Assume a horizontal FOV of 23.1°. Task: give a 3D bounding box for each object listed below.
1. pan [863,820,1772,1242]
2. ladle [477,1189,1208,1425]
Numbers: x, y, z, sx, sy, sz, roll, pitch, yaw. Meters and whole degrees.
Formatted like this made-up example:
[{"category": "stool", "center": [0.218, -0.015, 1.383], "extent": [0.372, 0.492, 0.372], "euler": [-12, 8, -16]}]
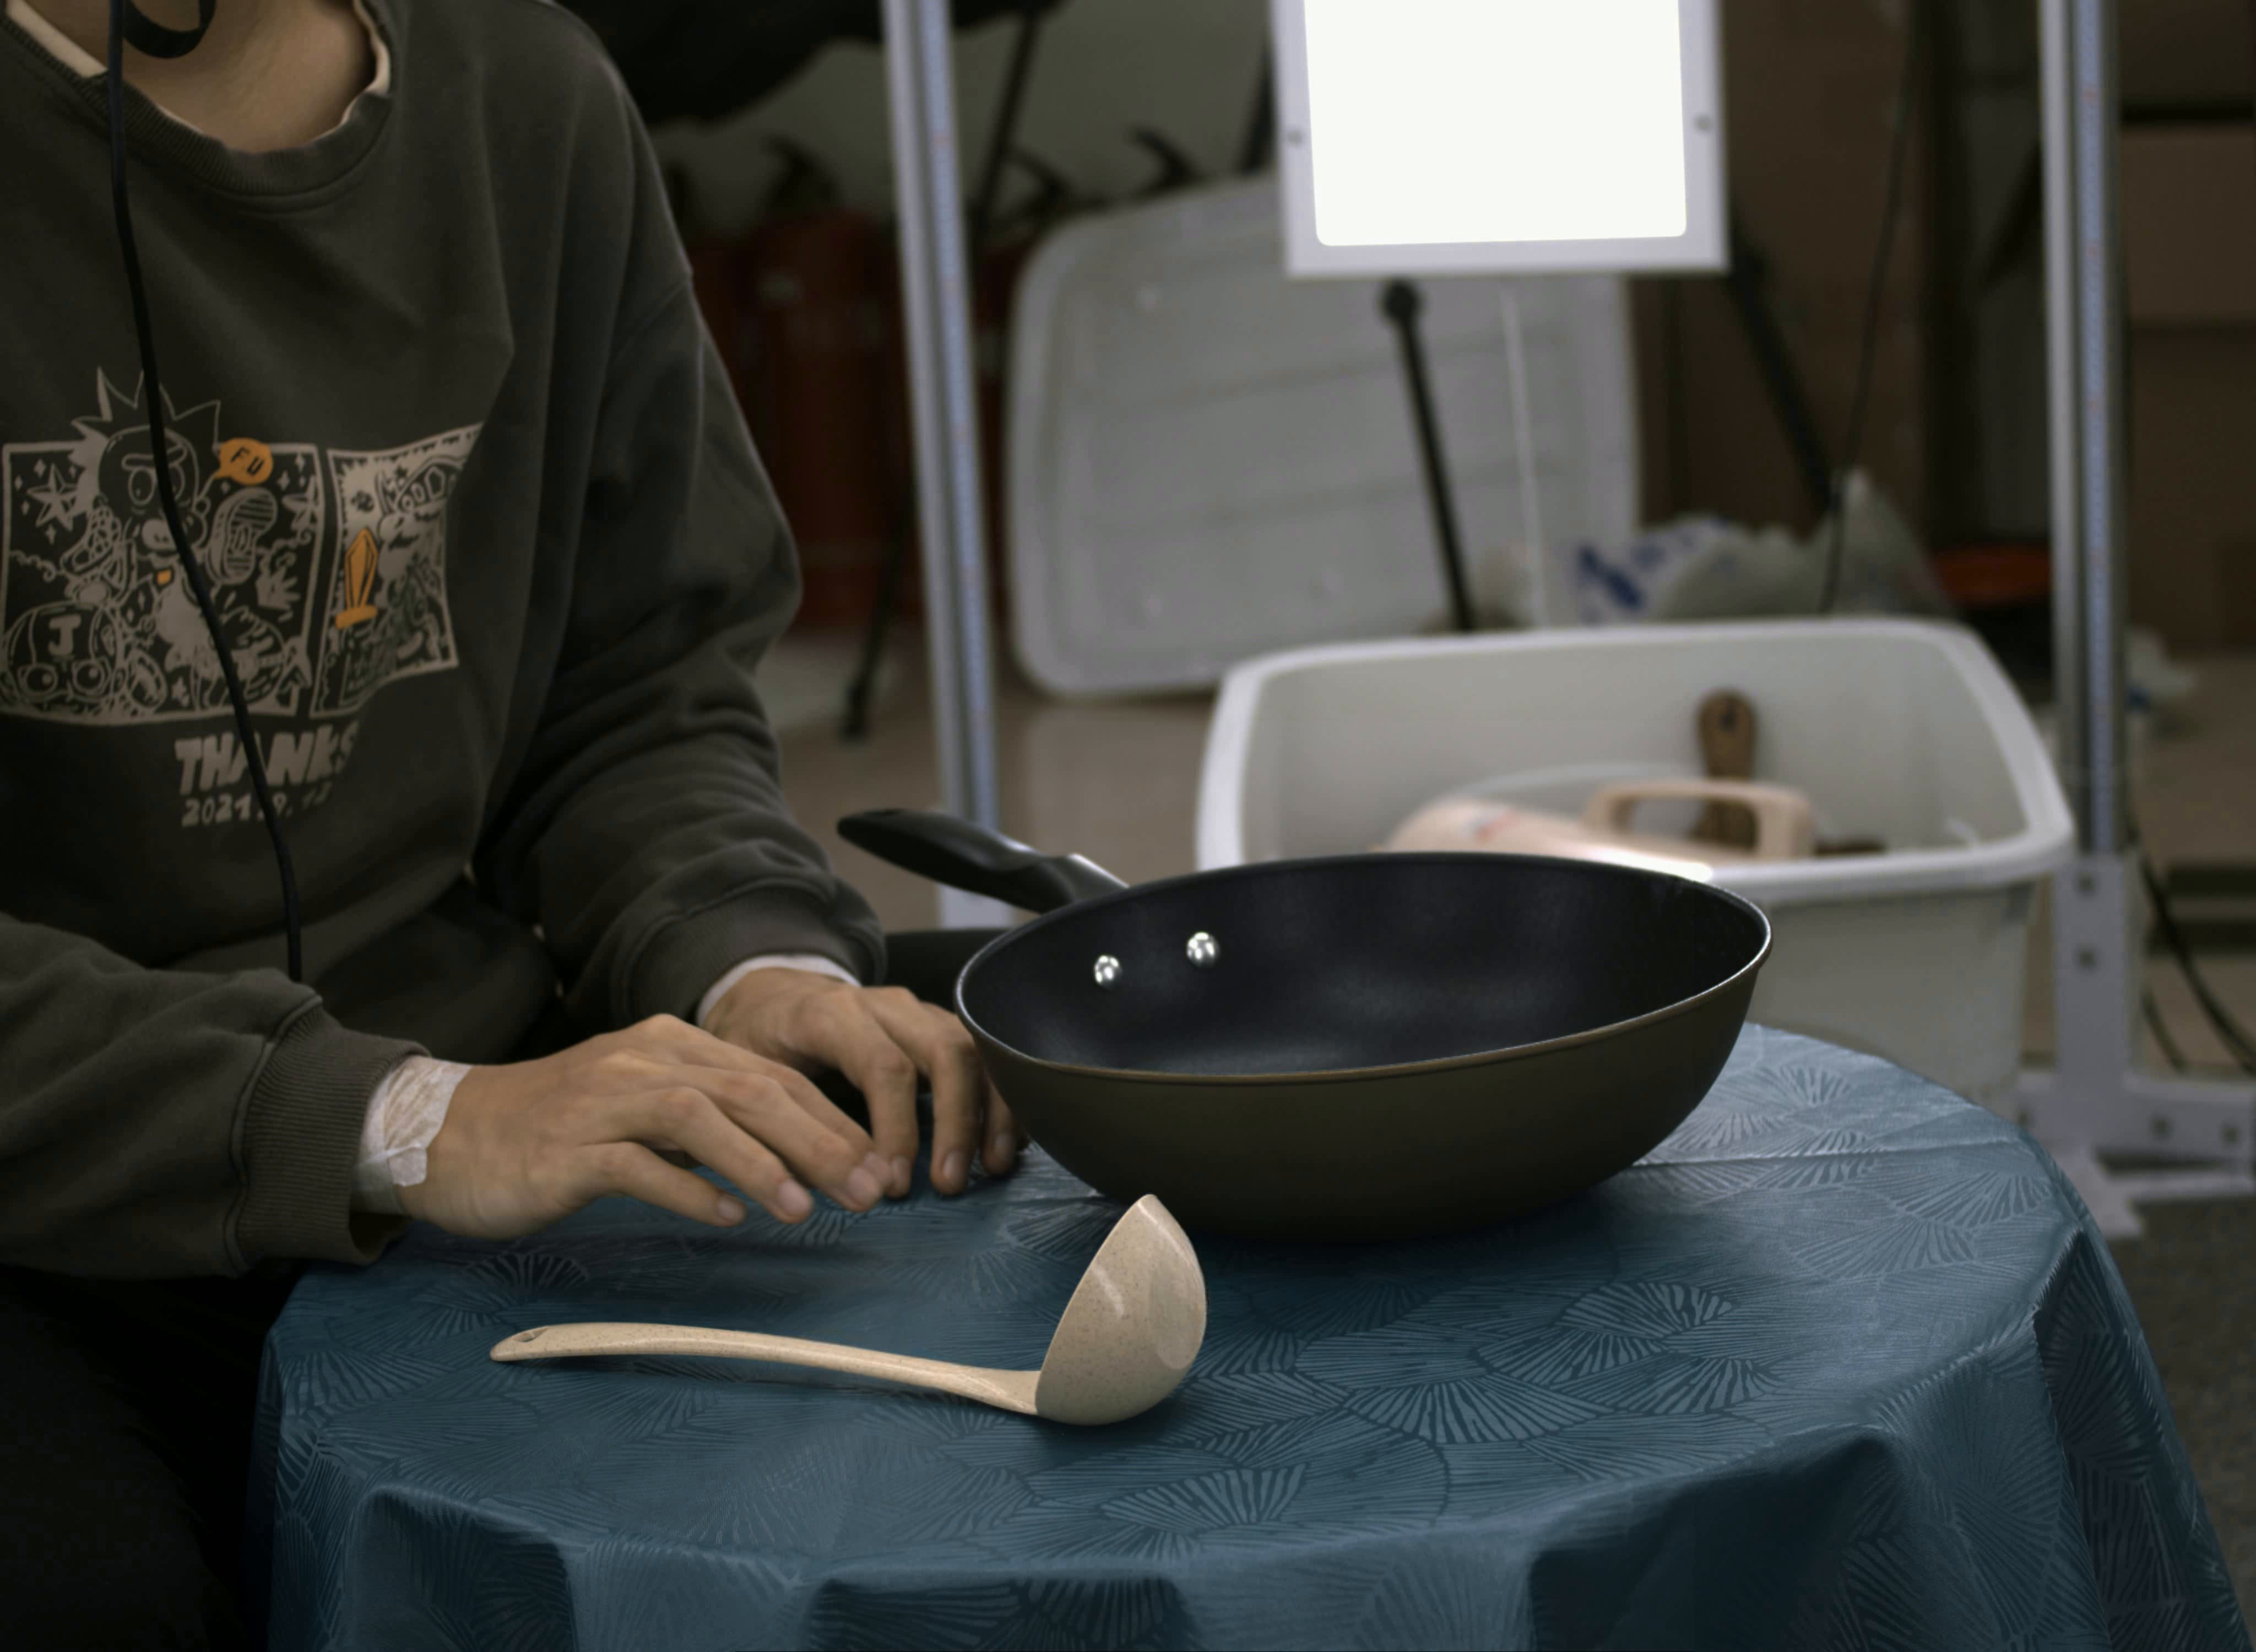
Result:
[{"category": "pan", "center": [0.030, 0.067, 1.953], "extent": [0.281, 0.087, 0.472], "euler": [-14, 15, -31]}, {"category": "ladle", "center": [-0.098, 0.143, 1.715], "extent": [0.258, 0.073, 0.071], "euler": [2, 25, 26]}]
